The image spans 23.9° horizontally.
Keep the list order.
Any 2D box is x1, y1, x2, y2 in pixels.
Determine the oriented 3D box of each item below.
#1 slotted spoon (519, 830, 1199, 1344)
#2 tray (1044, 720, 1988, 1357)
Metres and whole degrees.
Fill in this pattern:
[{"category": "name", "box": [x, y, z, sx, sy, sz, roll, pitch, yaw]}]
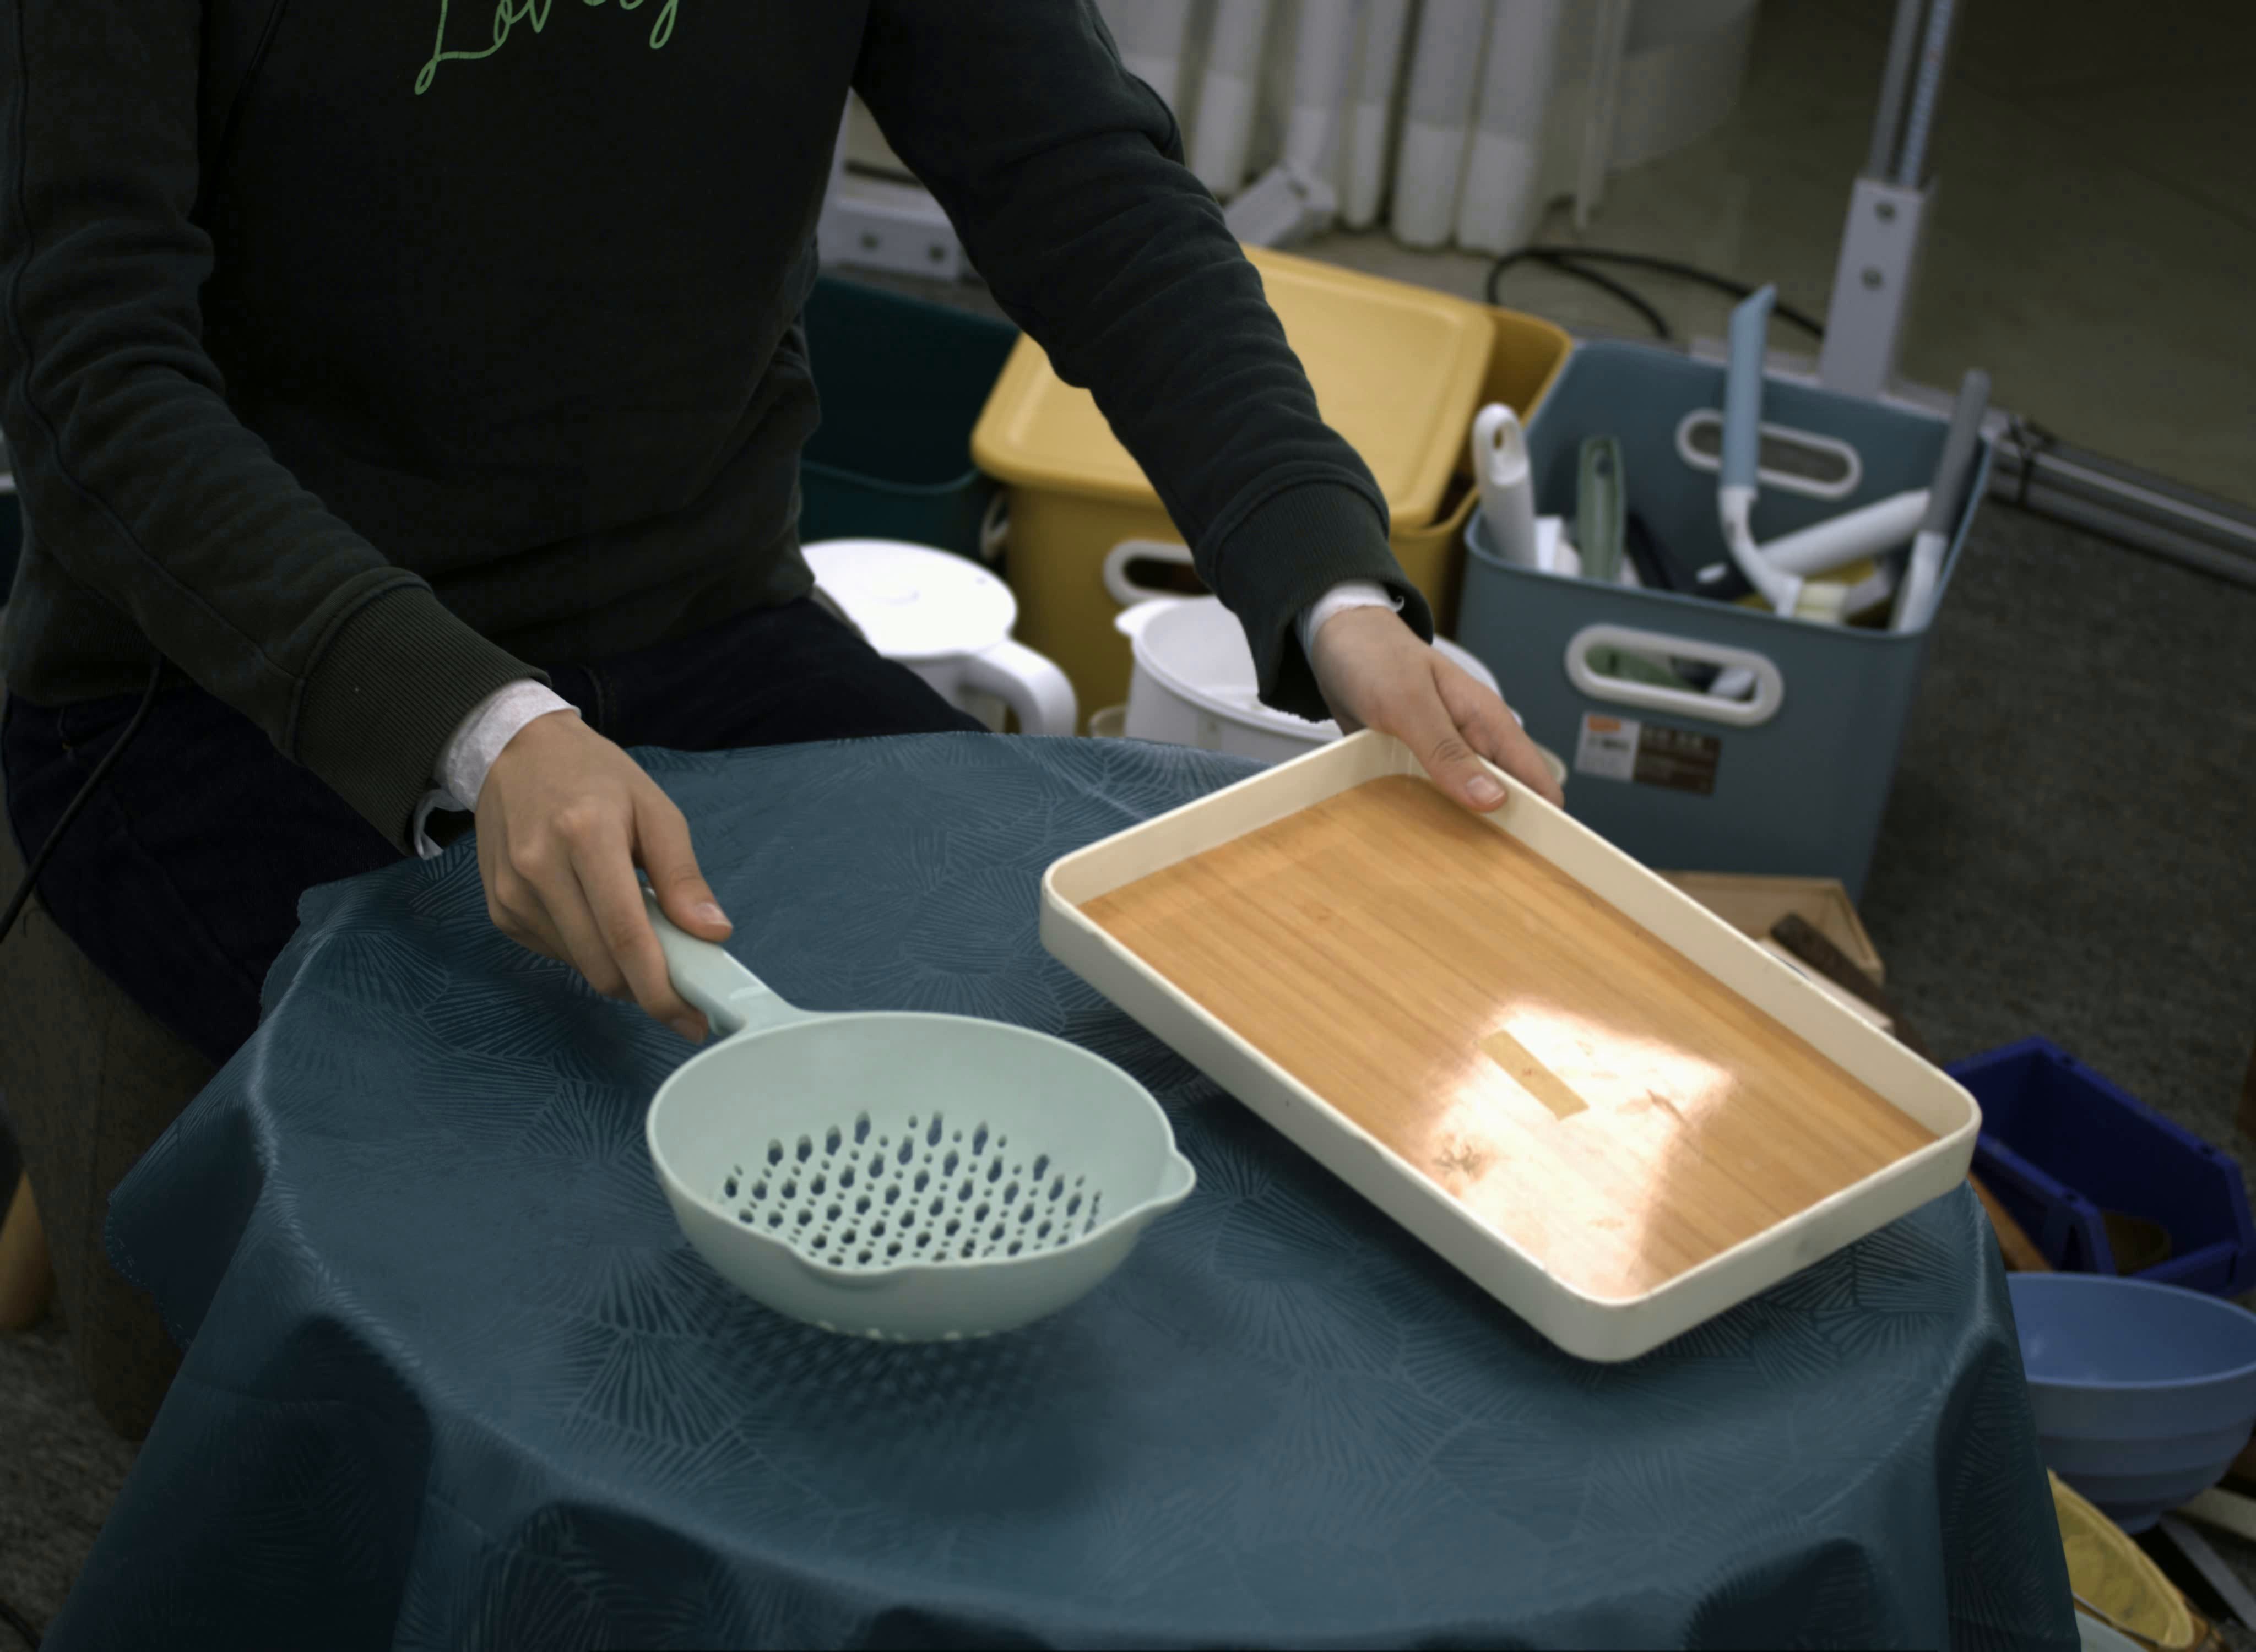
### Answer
[{"category": "slotted spoon", "box": [-0.120, 0.070, 1.770, 0.168, 0.075, 0.362, -11, 36, -30]}, {"category": "tray", "box": [0.130, 0.067, 1.841, 0.191, 0.027, 0.303, -22, 42, -34]}]
